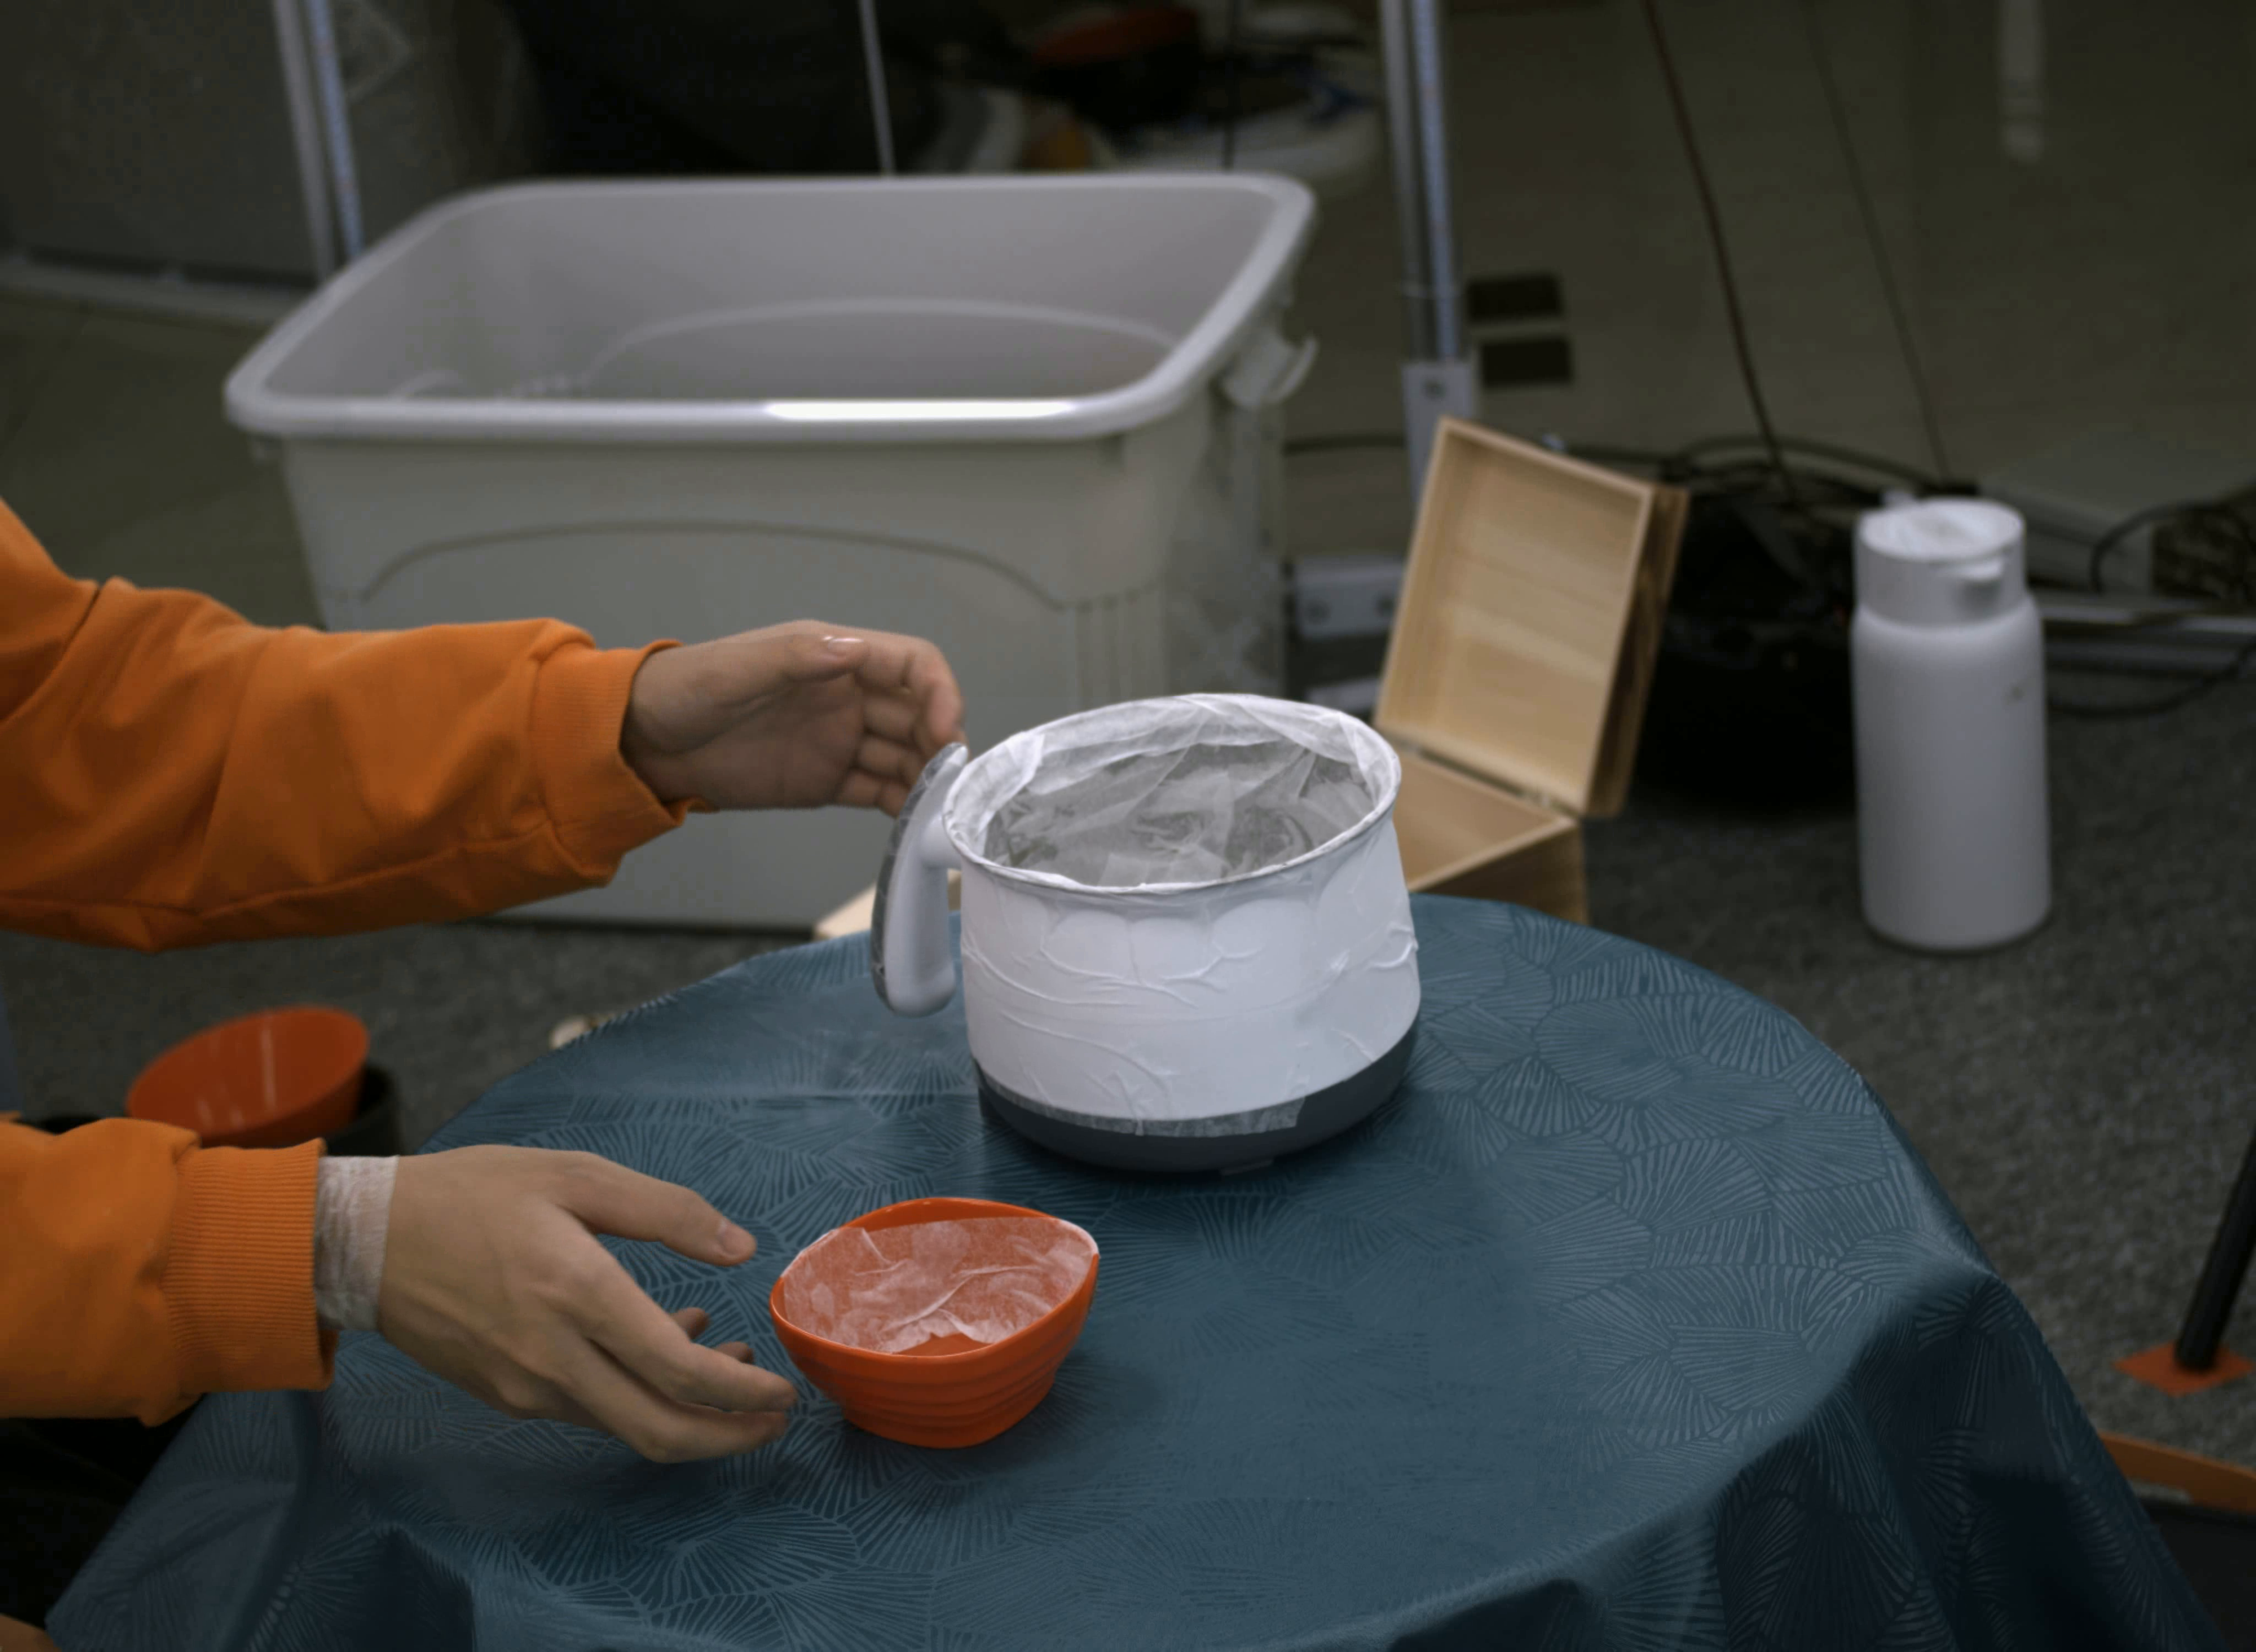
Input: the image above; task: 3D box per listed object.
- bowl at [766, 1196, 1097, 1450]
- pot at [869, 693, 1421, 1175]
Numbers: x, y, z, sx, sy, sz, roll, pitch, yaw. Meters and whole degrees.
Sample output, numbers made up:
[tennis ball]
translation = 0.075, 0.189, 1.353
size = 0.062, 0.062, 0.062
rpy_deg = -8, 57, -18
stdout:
[bowl]
translation = -0.067, 0.181, 2.014
size = 0.119, 0.052, 0.117
rpy_deg = -5, 26, 3
[pot]
translation = -0.001, 0.039, 2.196
size = 0.232, 0.139, 0.176
rpy_deg = 9, 29, 29
